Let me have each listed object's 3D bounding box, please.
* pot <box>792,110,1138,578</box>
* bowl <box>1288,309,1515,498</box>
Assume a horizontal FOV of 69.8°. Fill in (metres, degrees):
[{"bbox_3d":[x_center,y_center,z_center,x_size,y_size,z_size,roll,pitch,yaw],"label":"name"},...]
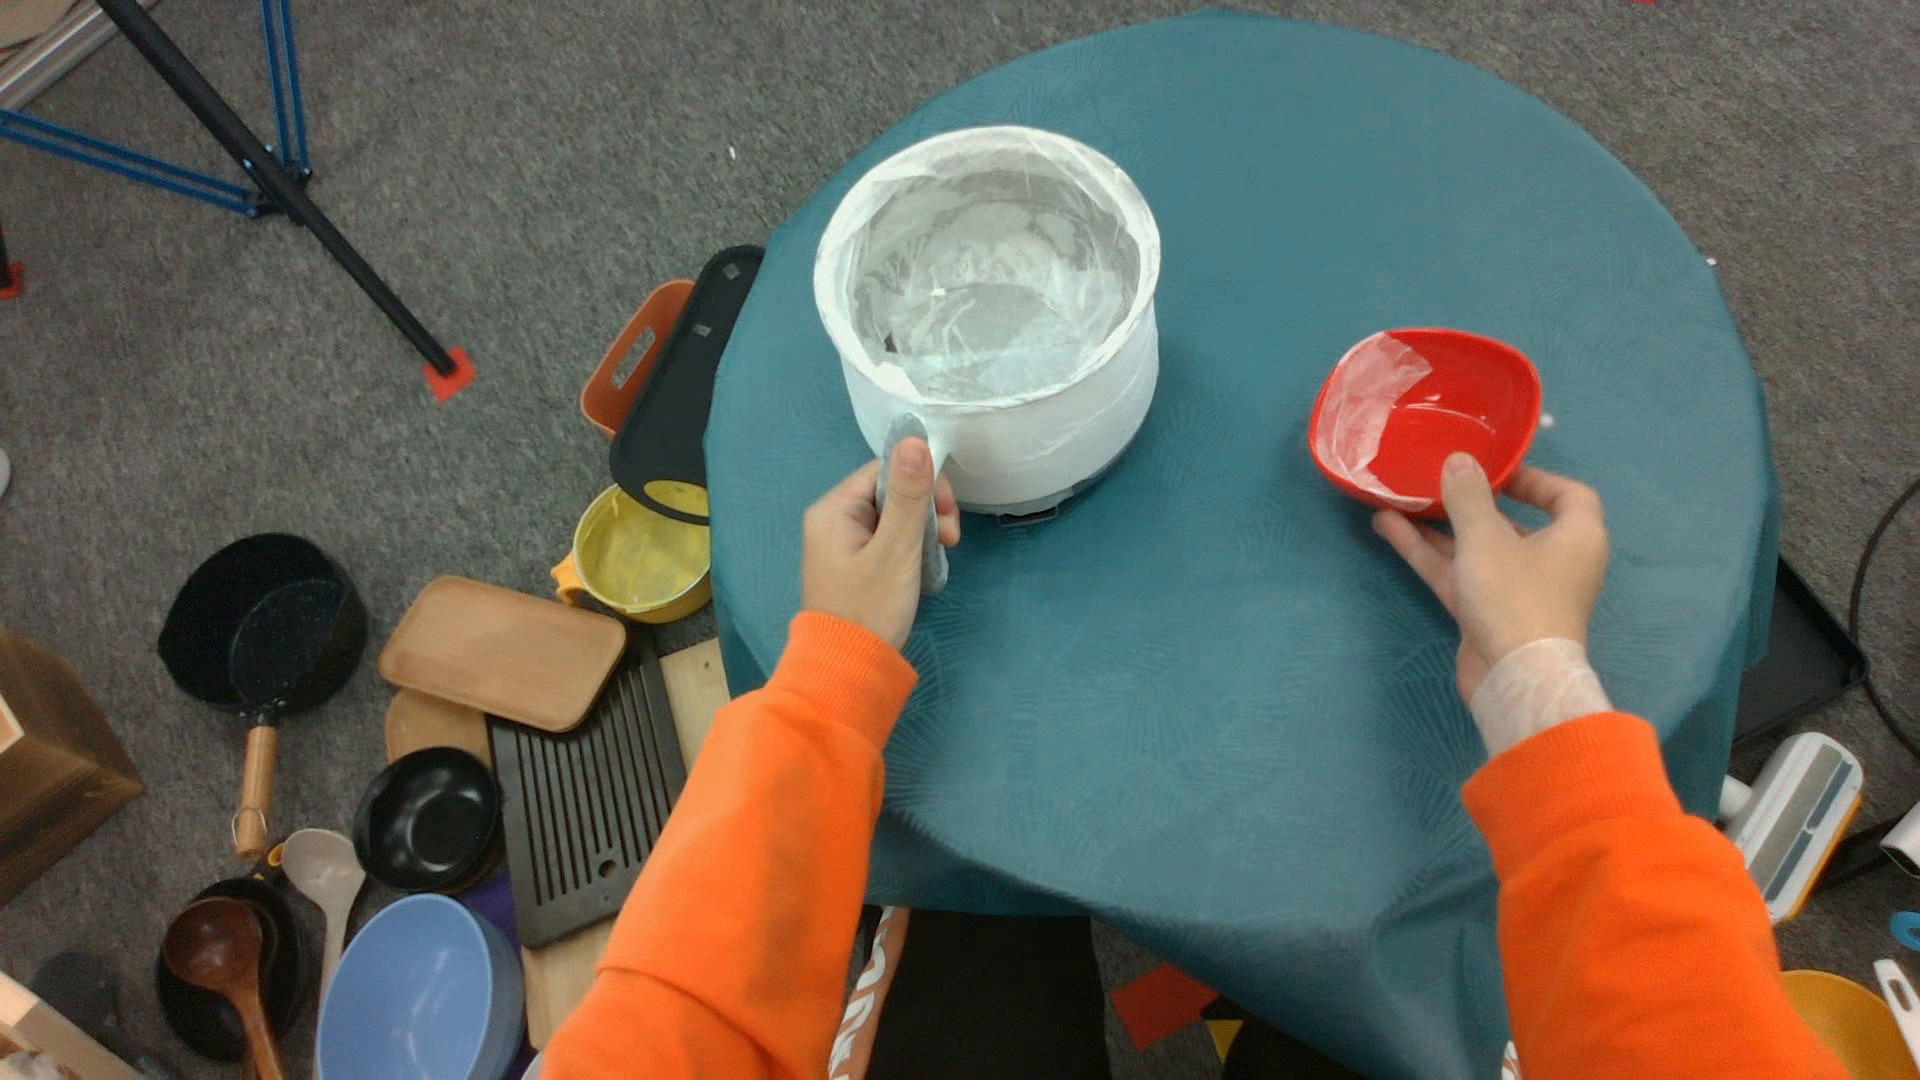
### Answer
[{"bbox_3d":[0.000,-0.099,0.744,0.178,0.136,0.234,15,67,14],"label":"pot"},{"bbox_3d":[0.236,-0.065,0.738,0.119,0.051,0.119,-9,55,14],"label":"bowl"}]
